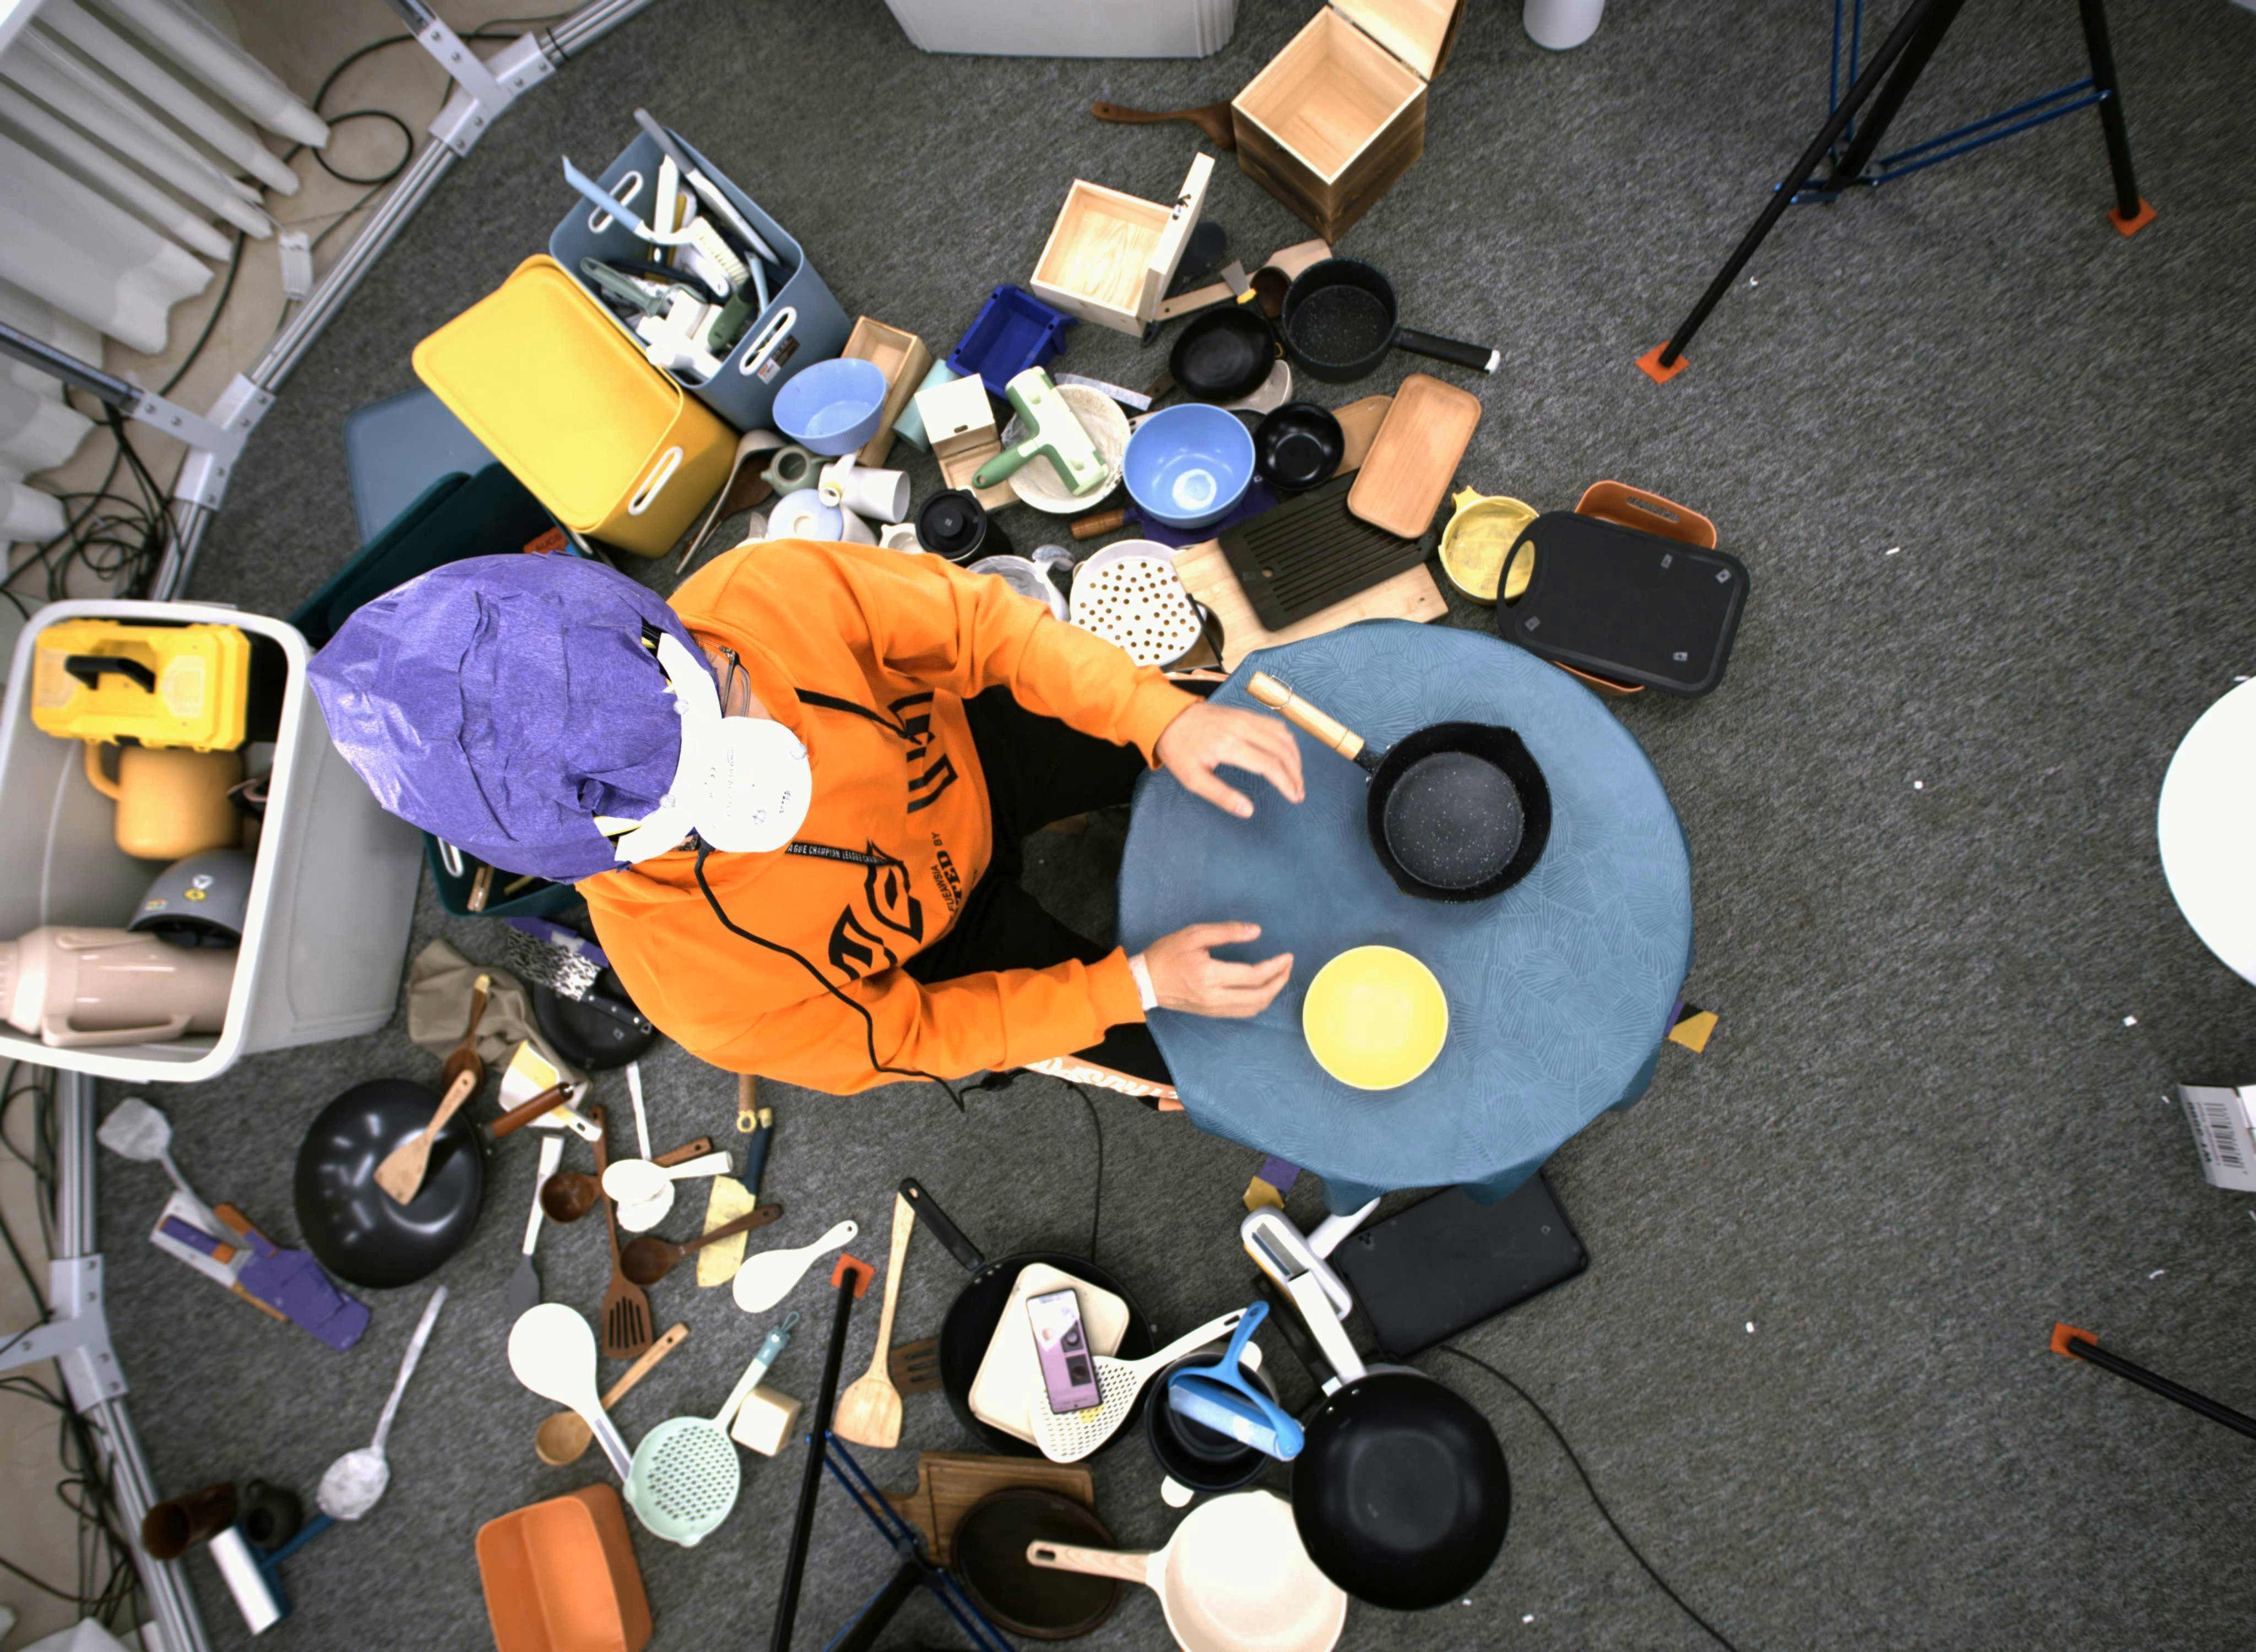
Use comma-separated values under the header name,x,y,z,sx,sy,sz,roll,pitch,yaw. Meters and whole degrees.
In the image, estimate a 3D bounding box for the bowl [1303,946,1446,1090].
name,x,y,z,sx,sy,sz,roll,pitch,yaw
bowl,0.253,0.196,1.427,0.146,0.060,0.144,-1,85,10

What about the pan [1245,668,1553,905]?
name,x,y,z,sx,sy,sz,roll,pitch,yaw
pan,0.268,-0.054,1.413,0.342,0.108,0.208,32,94,9
